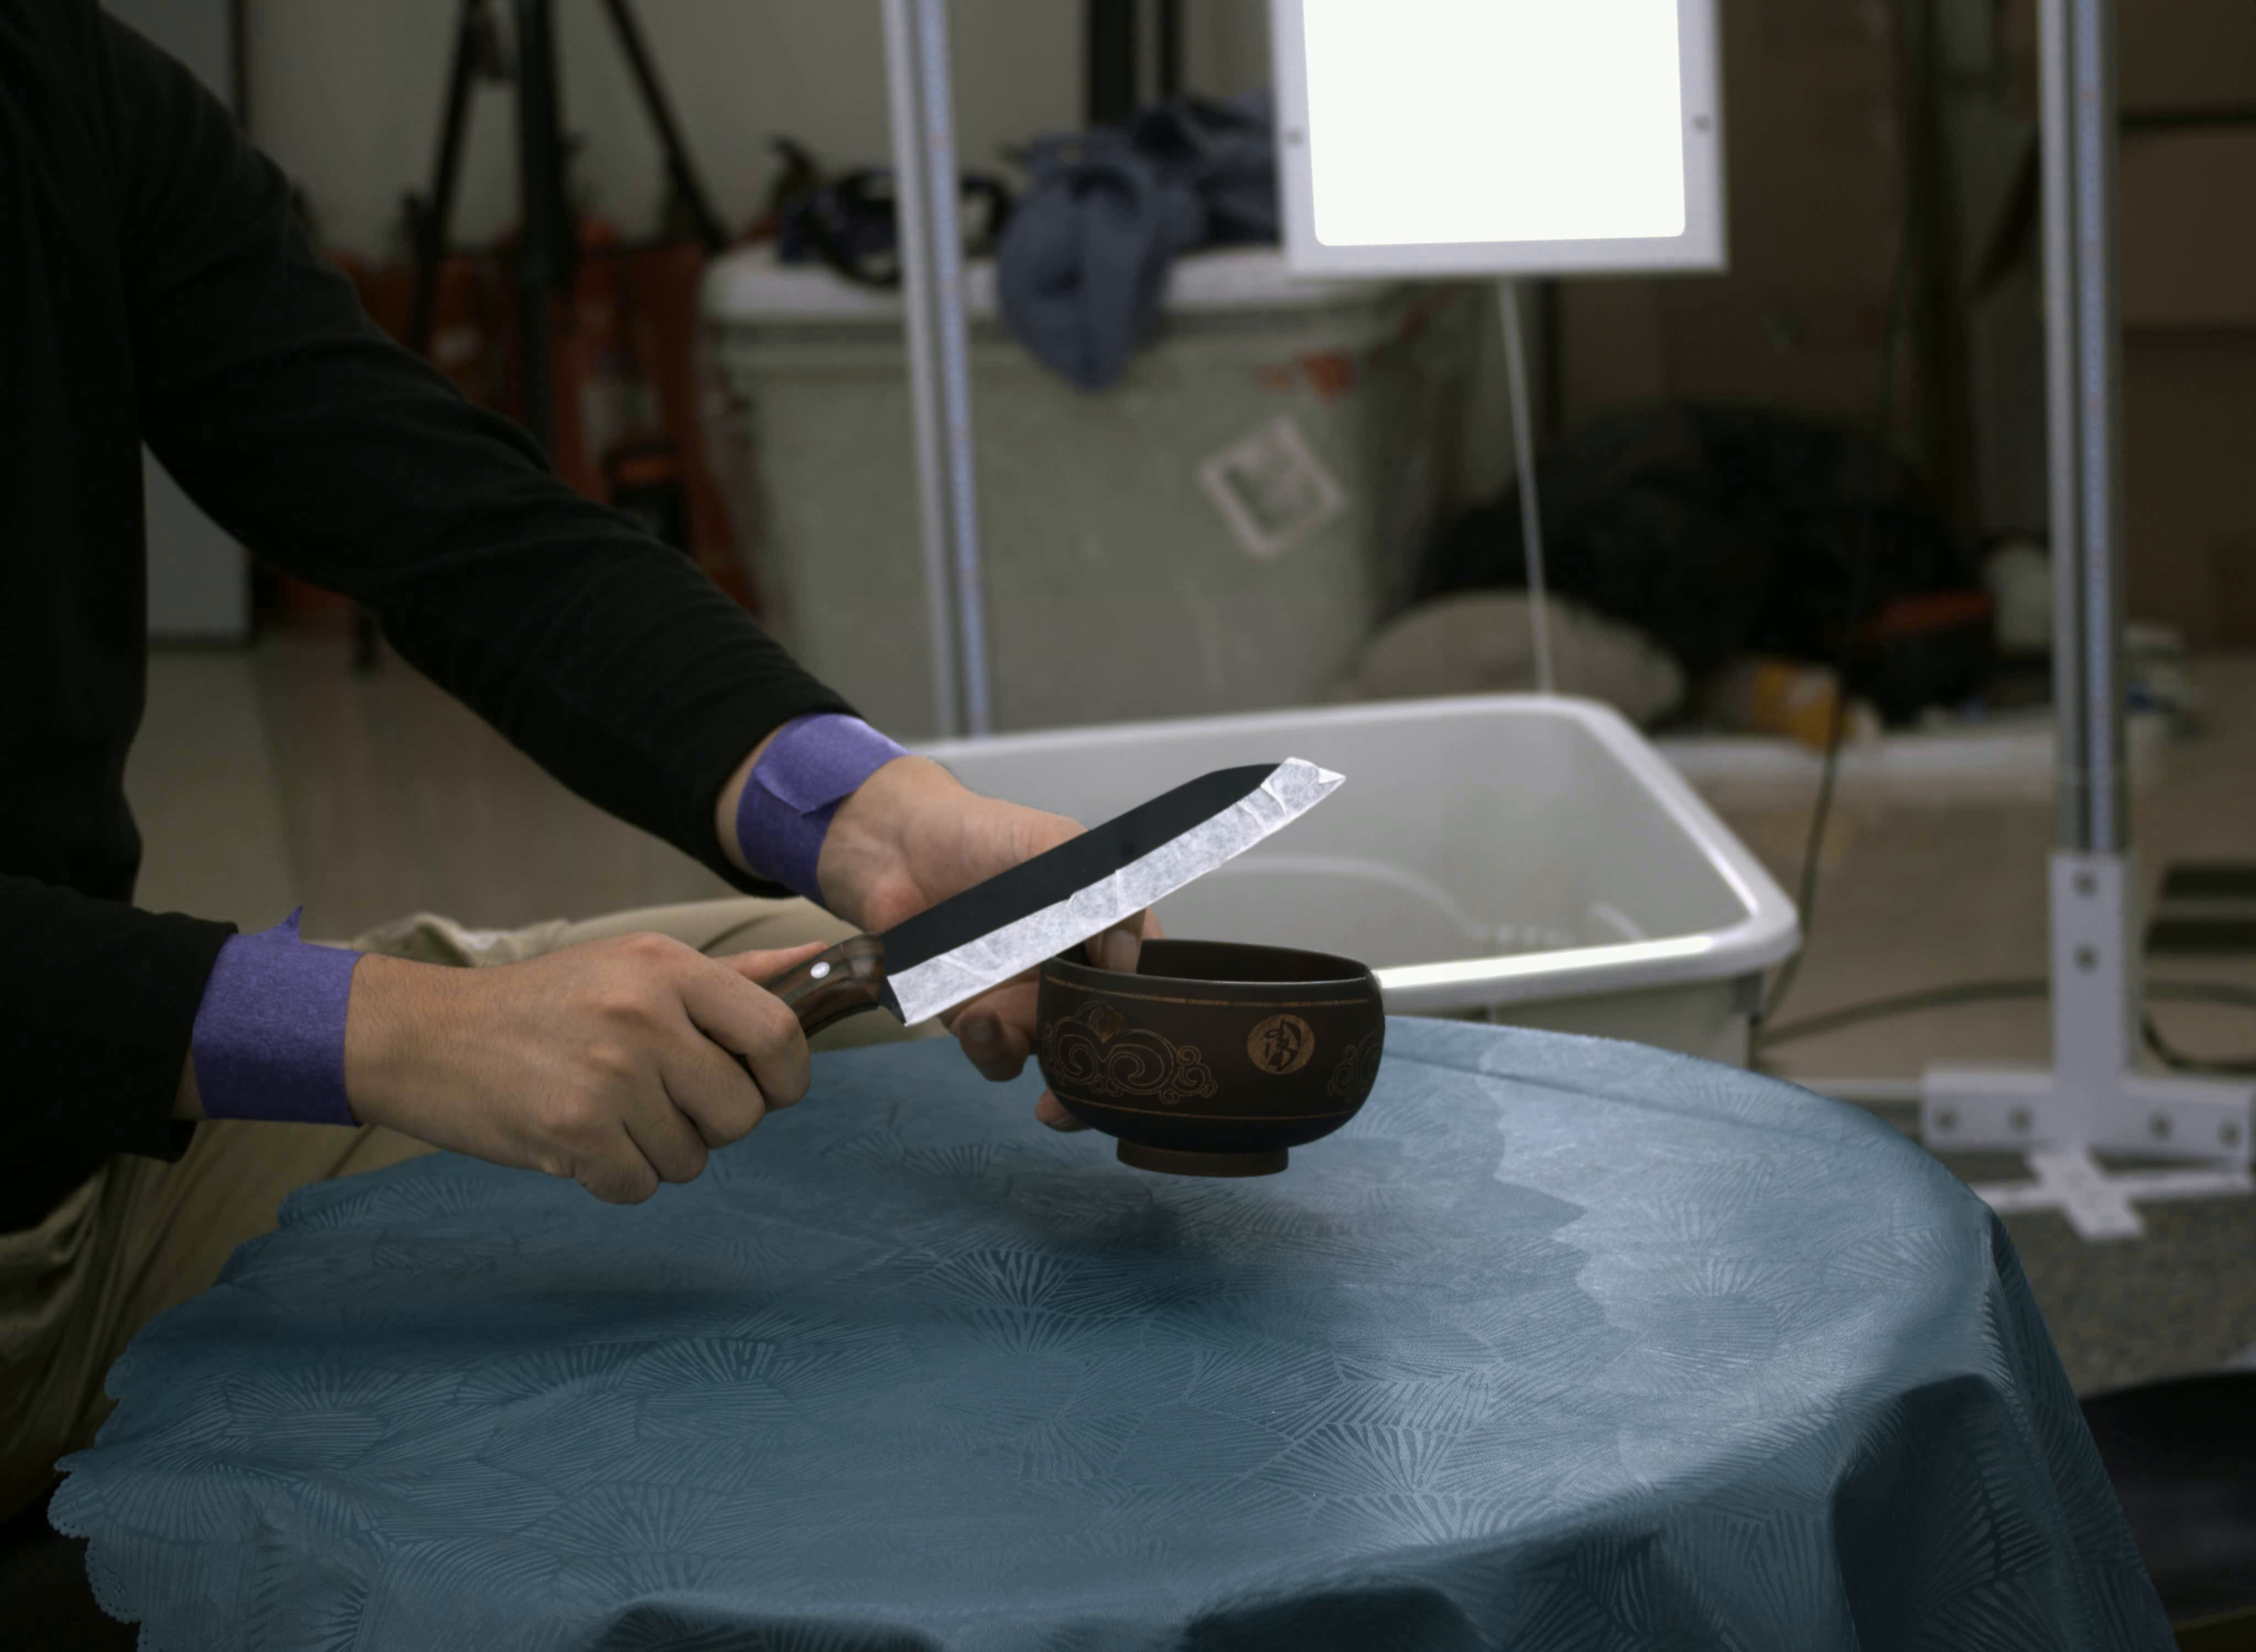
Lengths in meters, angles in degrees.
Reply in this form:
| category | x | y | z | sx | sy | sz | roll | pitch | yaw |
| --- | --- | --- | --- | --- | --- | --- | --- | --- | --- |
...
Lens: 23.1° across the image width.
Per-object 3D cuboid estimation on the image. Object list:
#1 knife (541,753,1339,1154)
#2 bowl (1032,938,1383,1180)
| category | x | y | z | sx | sy | sz | roll | pitch | yaw |
| --- | --- | --- | --- | --- | --- | --- | --- | --- | --- |
| knife | -0.061 | 0.040 | 1.827 | 0.289 | 0.020 | 0.050 | -25 | 48 | 3 |
| bowl | 0.026 | 0.079 | 1.826 | 0.117 | 0.070 | 0.118 | 1 | 6 | -2 |
